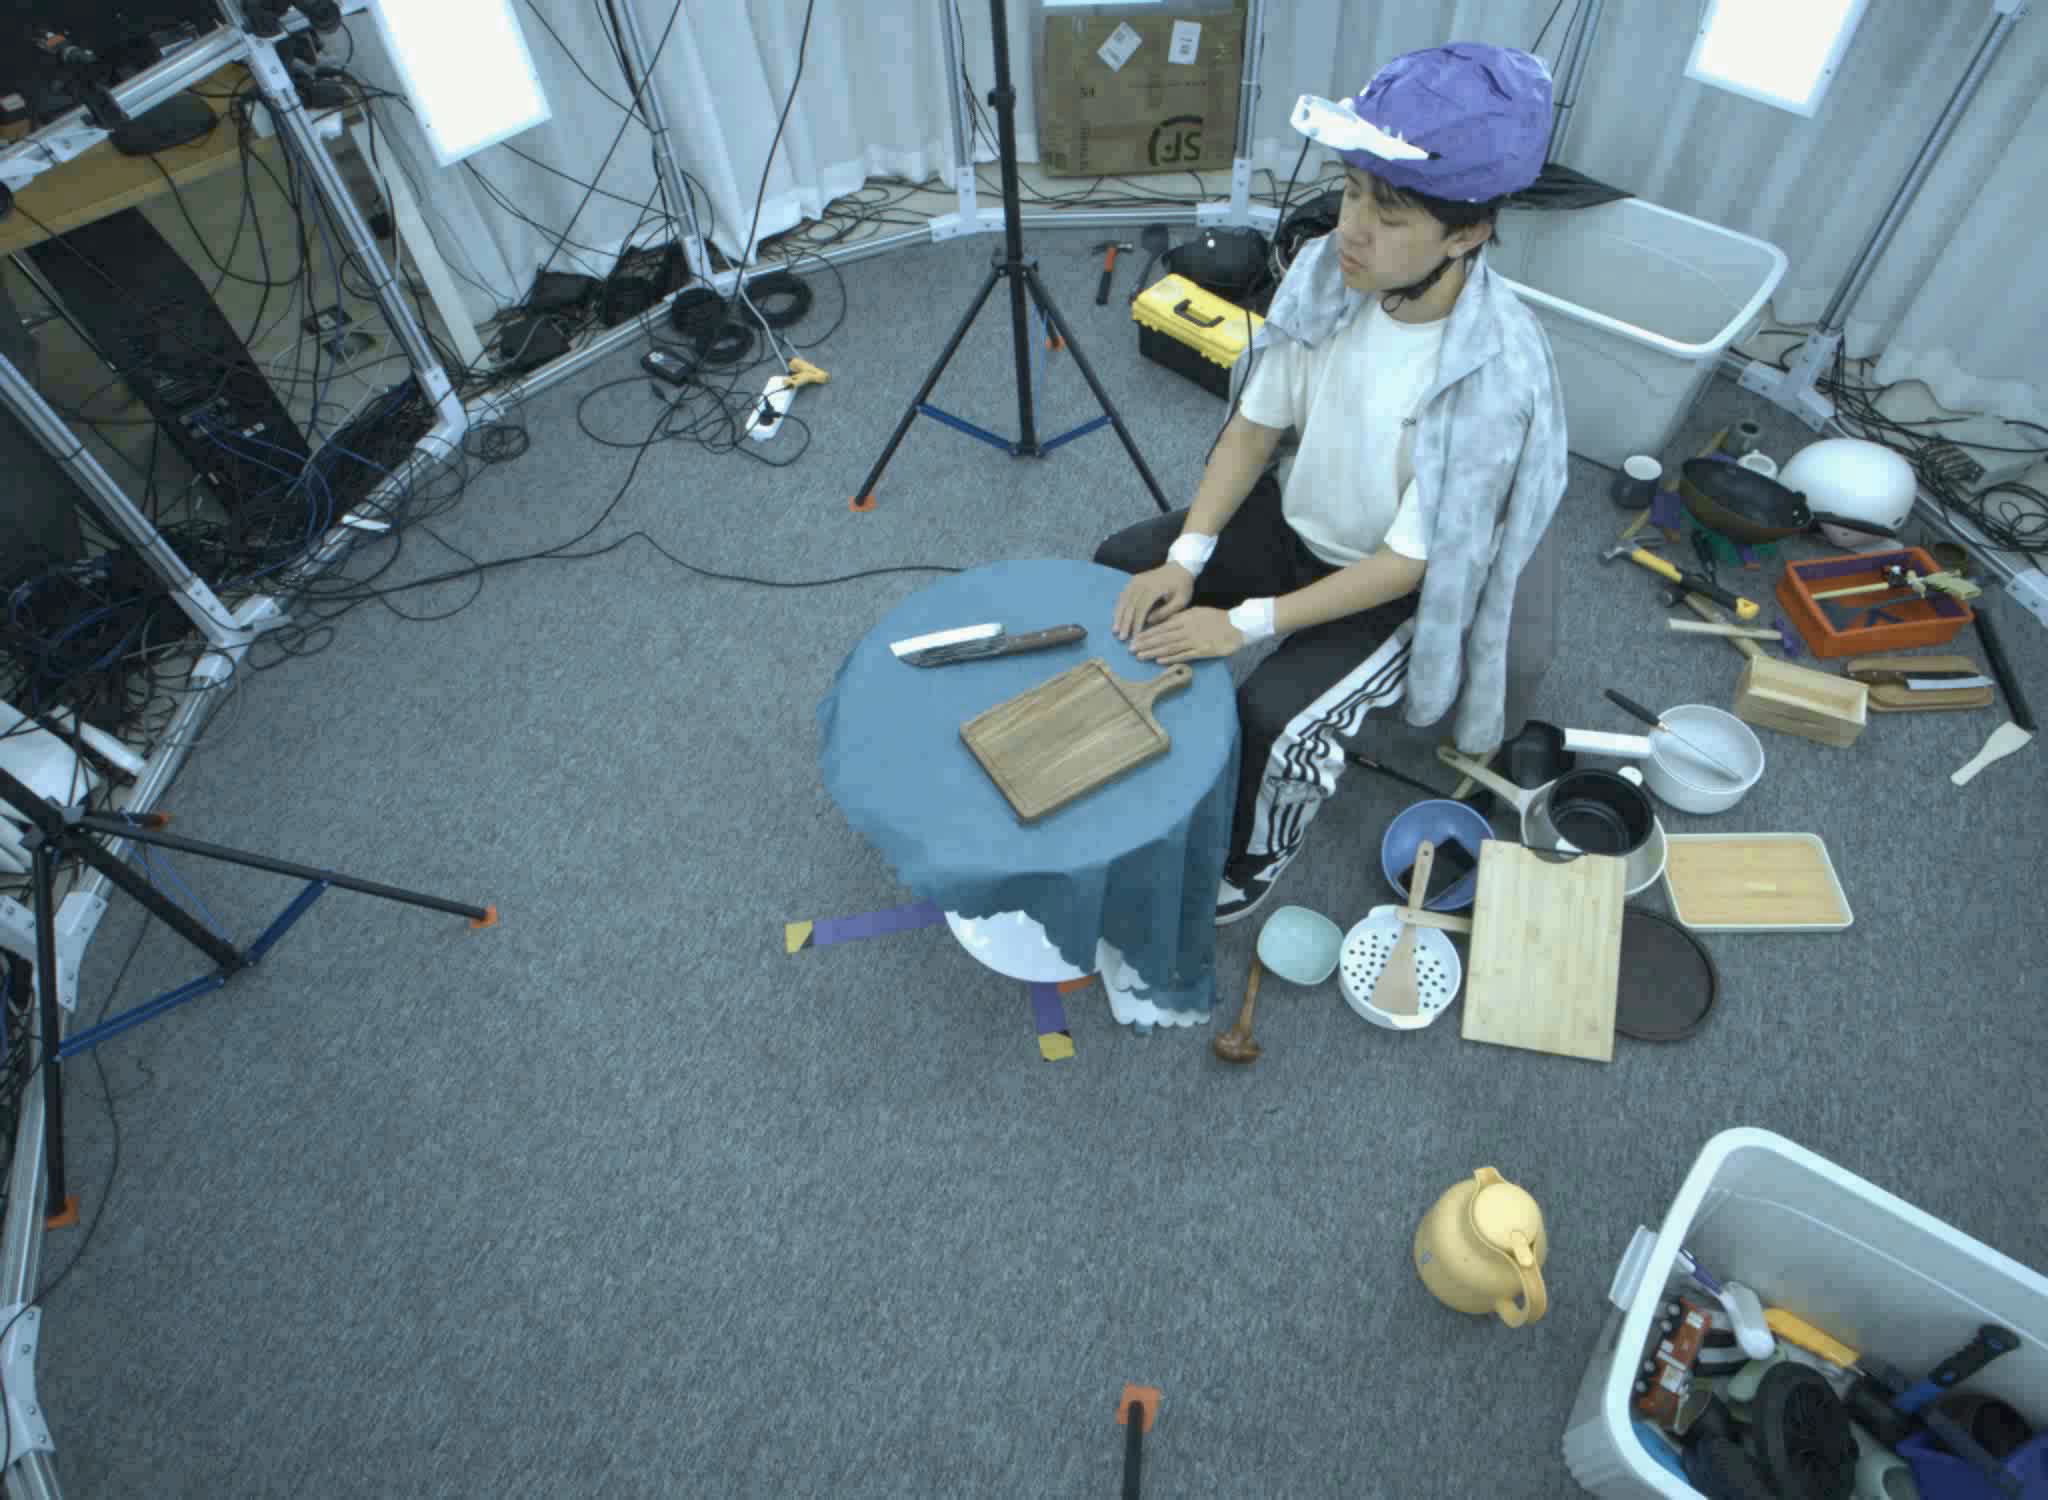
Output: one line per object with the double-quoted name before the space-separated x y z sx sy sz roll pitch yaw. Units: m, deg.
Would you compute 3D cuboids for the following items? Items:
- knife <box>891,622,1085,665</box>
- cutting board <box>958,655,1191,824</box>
"knife" -0.057 -0.171 1.901 0.300 0.024 0.067 -9 52 -1
"cutting board" 0.100 -0.042 1.803 0.355 0.023 0.197 -28 59 -17
